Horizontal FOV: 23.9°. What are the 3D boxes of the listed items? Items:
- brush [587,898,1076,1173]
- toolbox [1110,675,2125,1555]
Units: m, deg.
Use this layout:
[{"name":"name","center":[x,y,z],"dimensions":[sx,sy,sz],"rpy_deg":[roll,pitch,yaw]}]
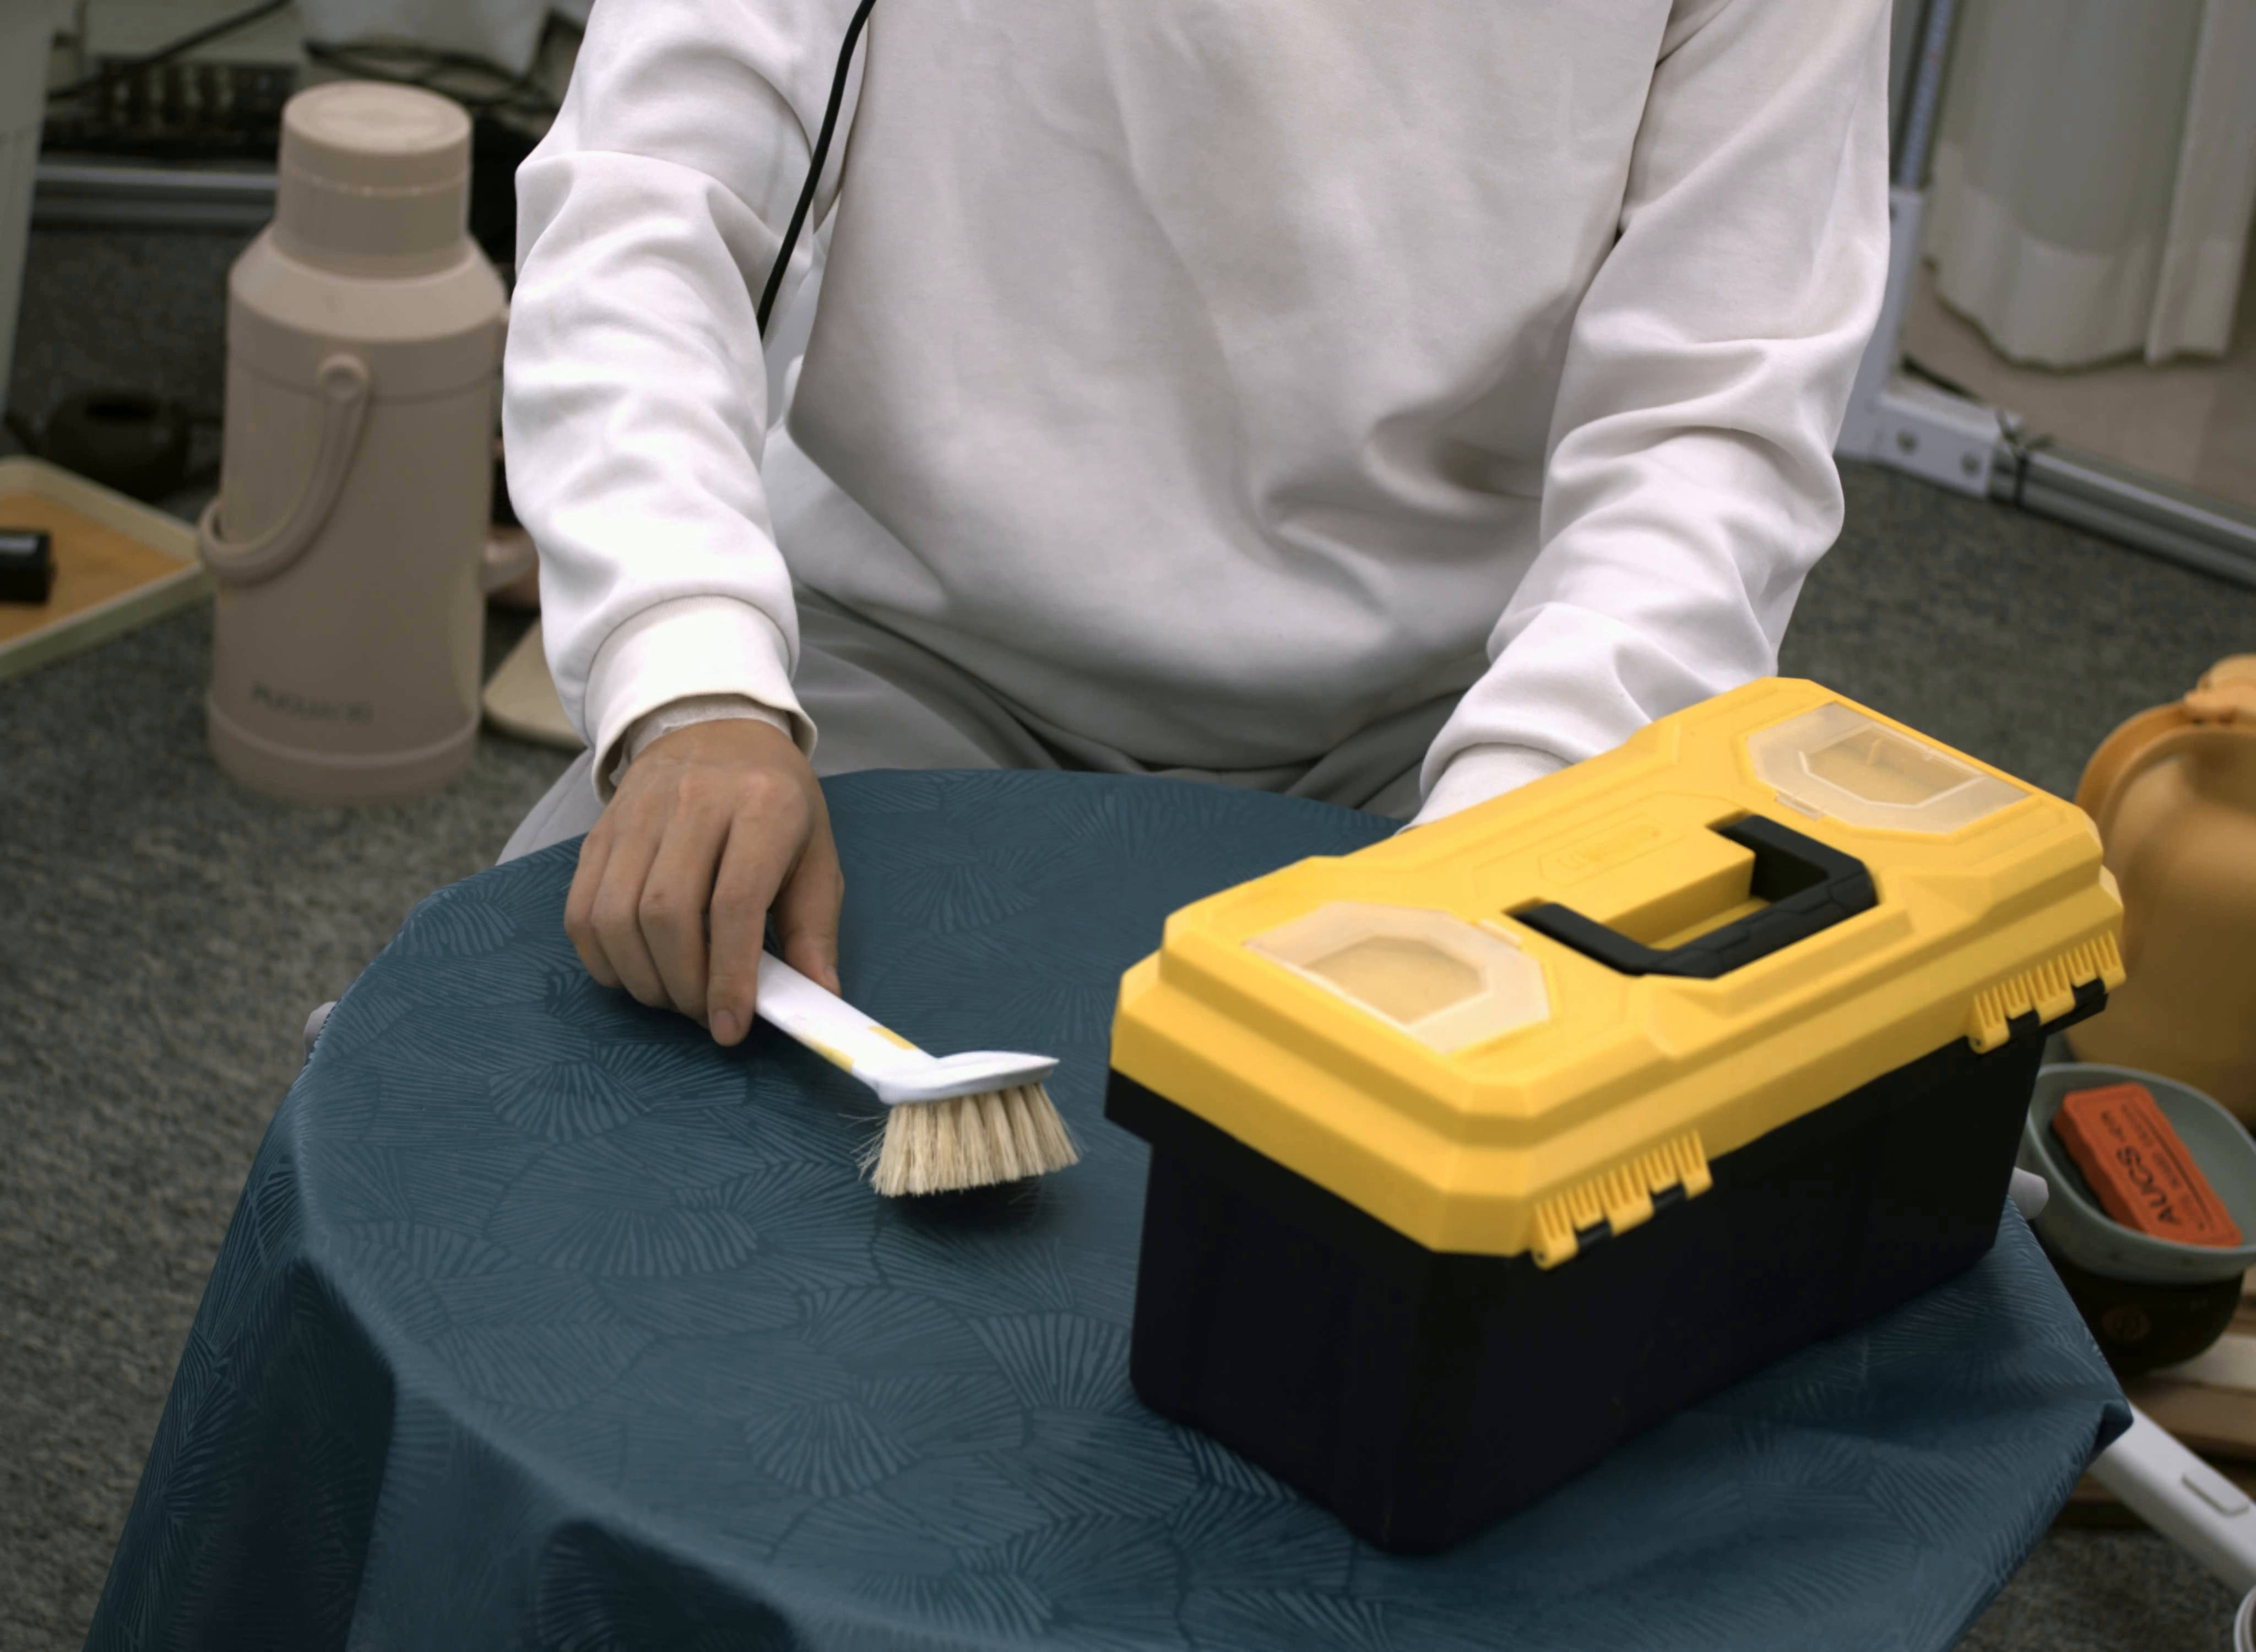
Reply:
[{"name":"brush","center":[-0.111,0.076,1.858],"dimensions":[0.068,0.056,0.268],"rpy_deg":[8,4,-41]},{"name":"toolbox","center":[0.156,0.087,1.724],"dimensions":[0.182,0.172,0.350],"rpy_deg":[29,34,35]}]
